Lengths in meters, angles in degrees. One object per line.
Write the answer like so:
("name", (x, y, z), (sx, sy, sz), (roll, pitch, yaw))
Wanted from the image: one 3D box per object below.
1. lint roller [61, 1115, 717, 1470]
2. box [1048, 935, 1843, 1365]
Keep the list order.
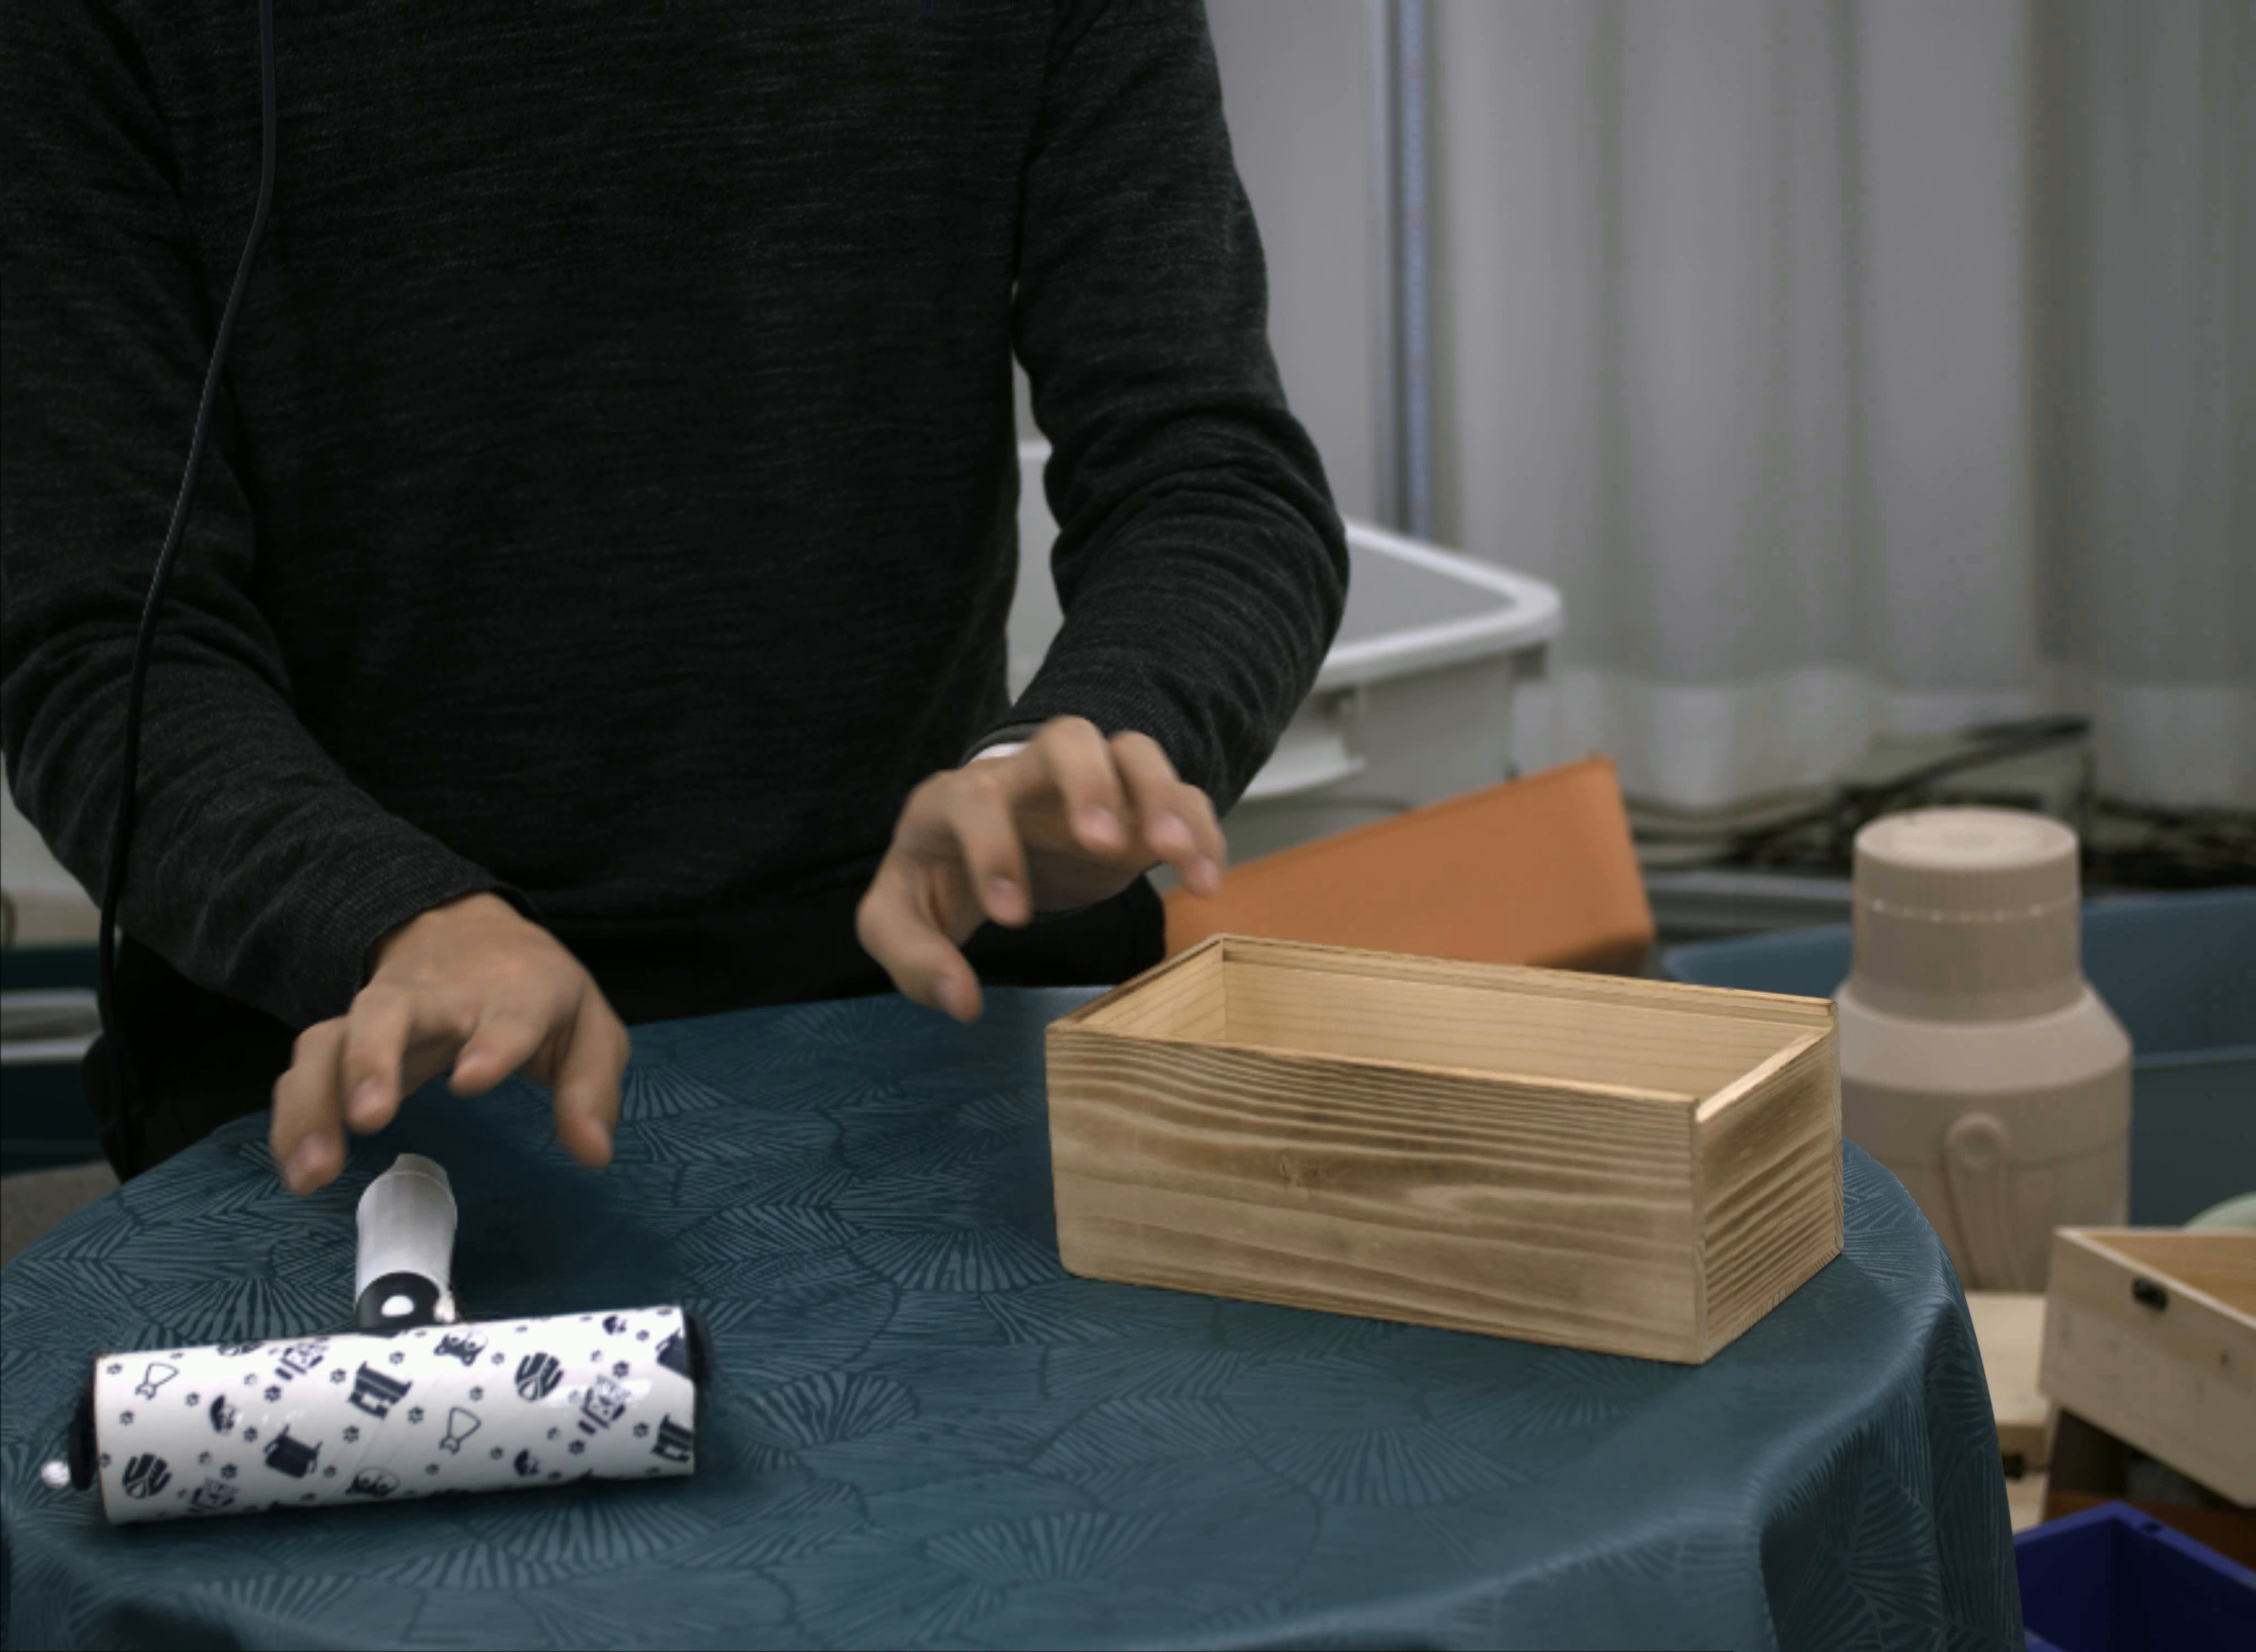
("lint roller", (-0.196, 0.125, 1.599), (0.176, 0.050, 0.249), (0, 16, 4))
("box", (0.094, 0.093, 1.622), (0.212, 0.080, 0.107), (5, 16, 29))
